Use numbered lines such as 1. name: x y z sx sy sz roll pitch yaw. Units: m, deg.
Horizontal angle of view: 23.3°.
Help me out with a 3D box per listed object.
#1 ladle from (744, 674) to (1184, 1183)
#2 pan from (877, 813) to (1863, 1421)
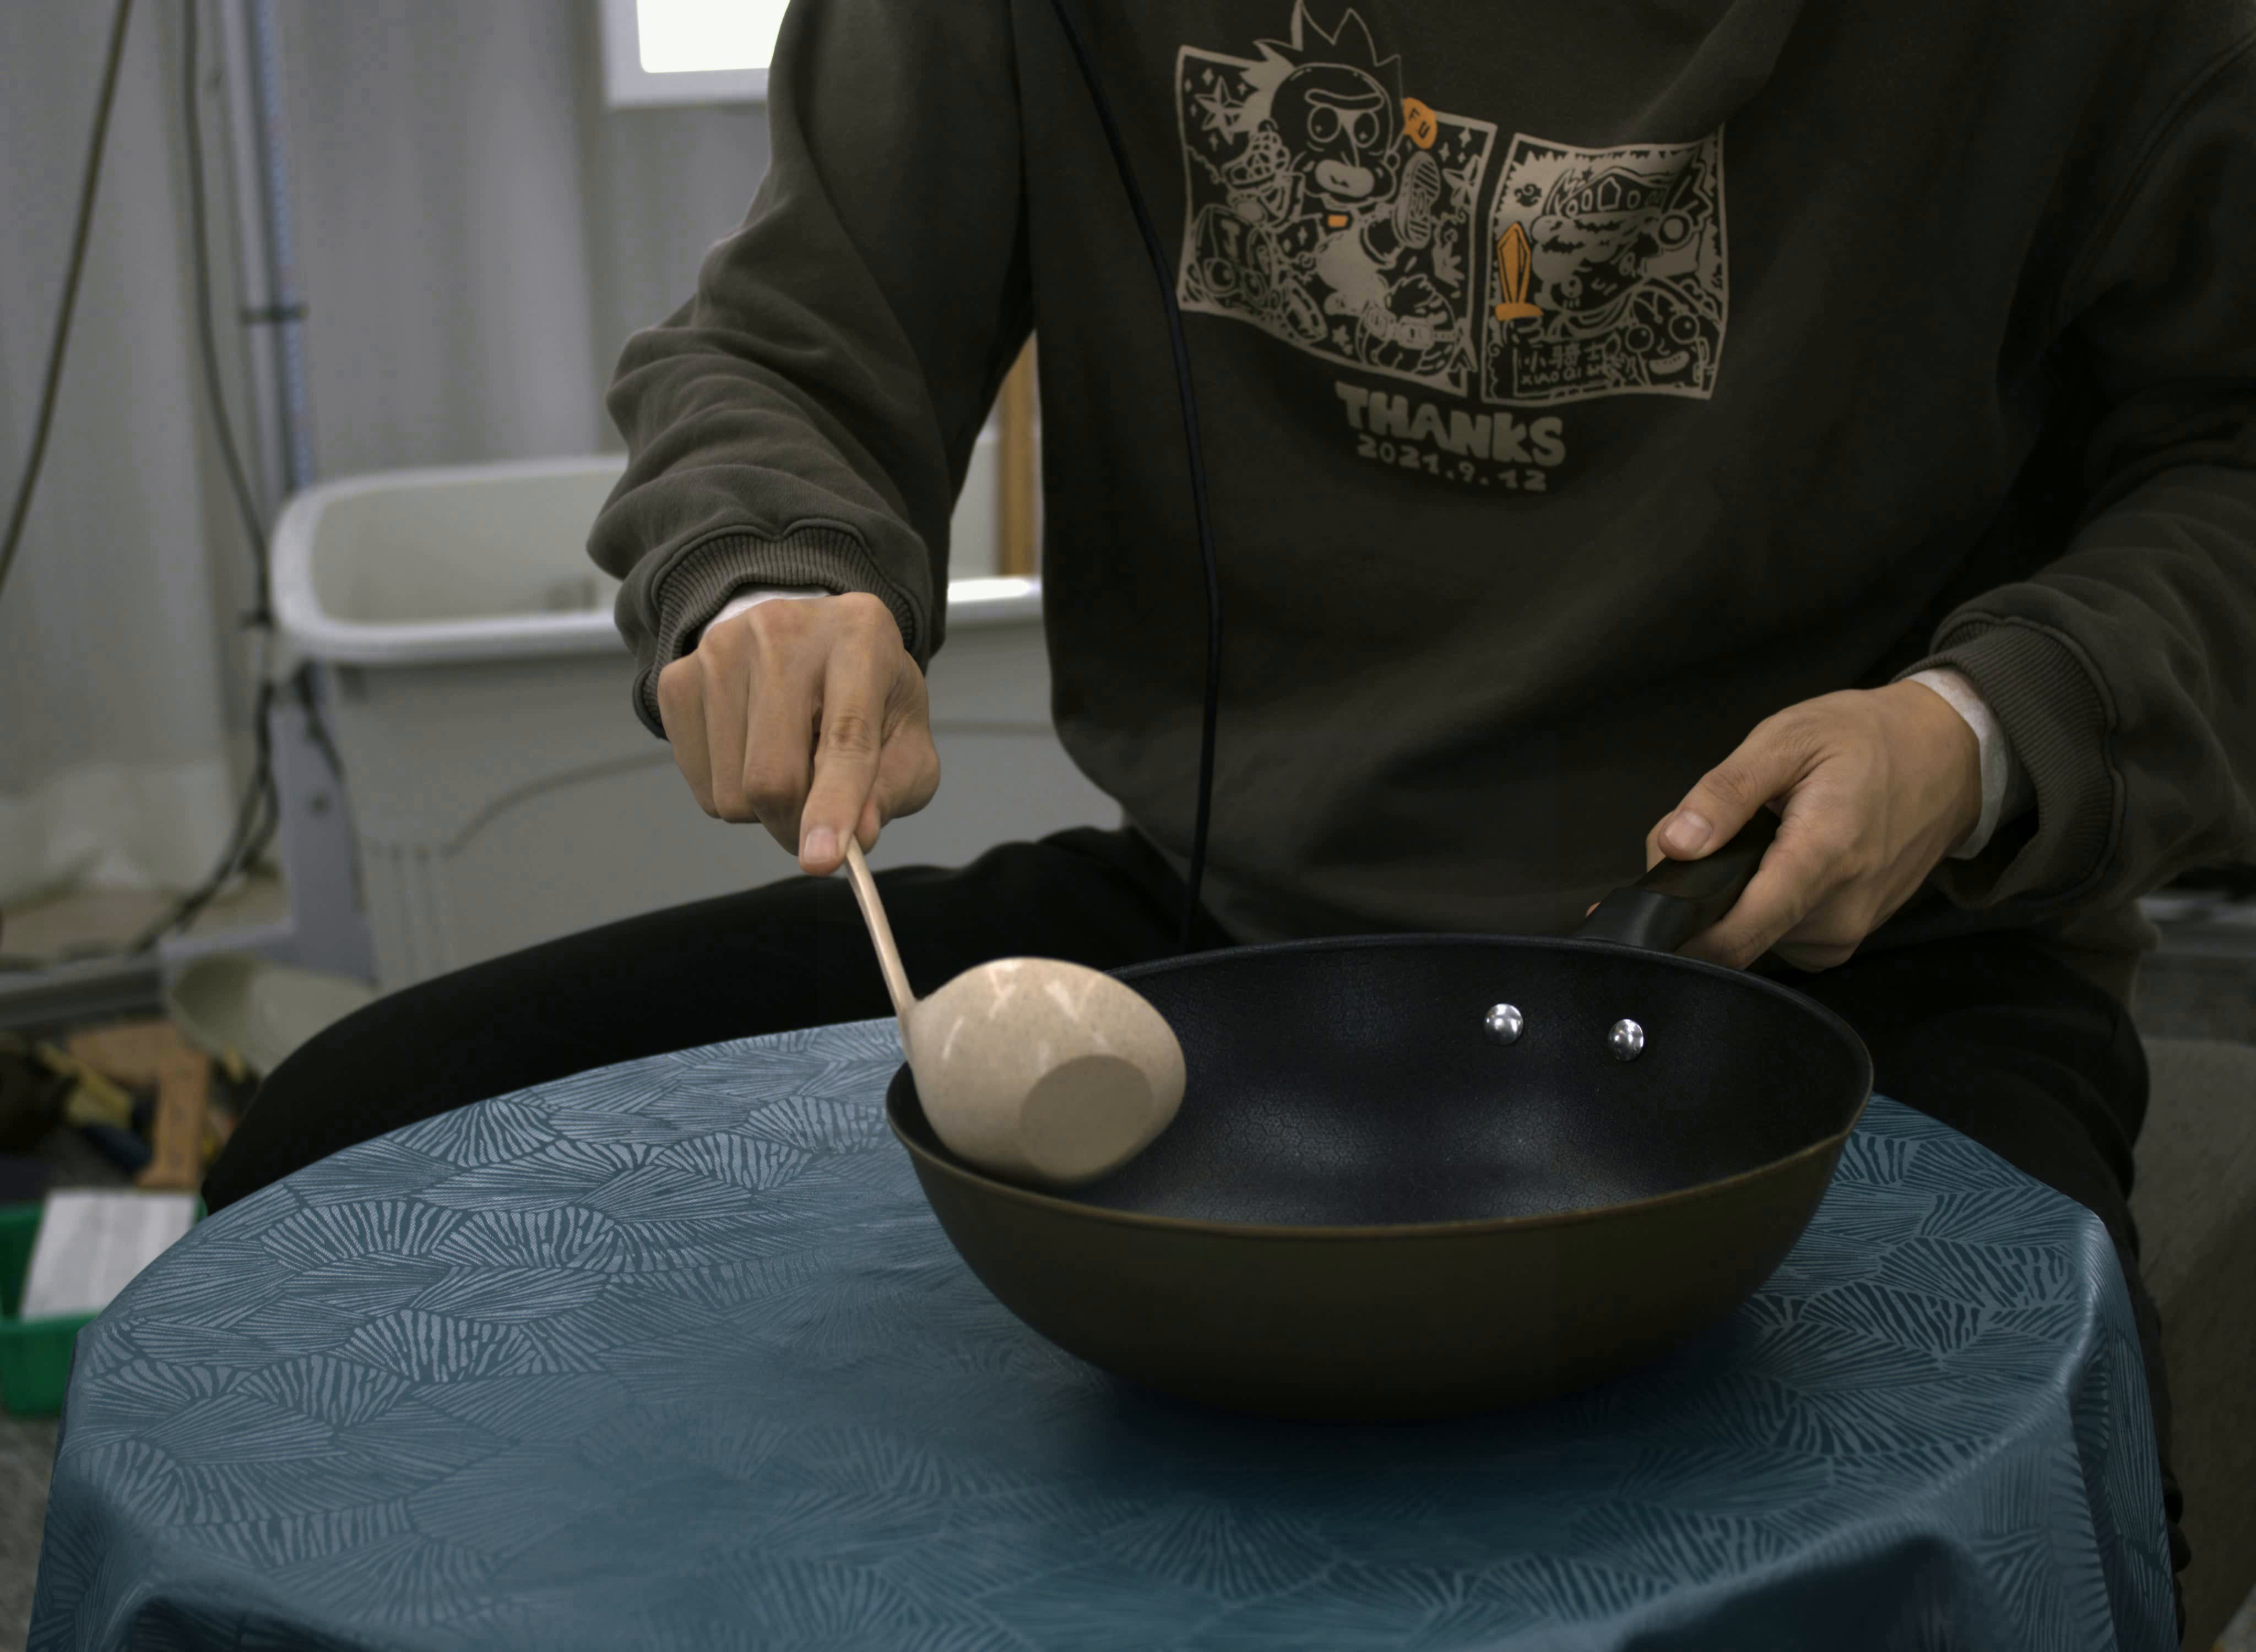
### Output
1. ladle: -0.050 0.013 1.600 0.072 0.071 0.258 -22 38 -3
2. pan: 0.114 0.085 1.651 0.289 0.086 0.464 5 16 29
